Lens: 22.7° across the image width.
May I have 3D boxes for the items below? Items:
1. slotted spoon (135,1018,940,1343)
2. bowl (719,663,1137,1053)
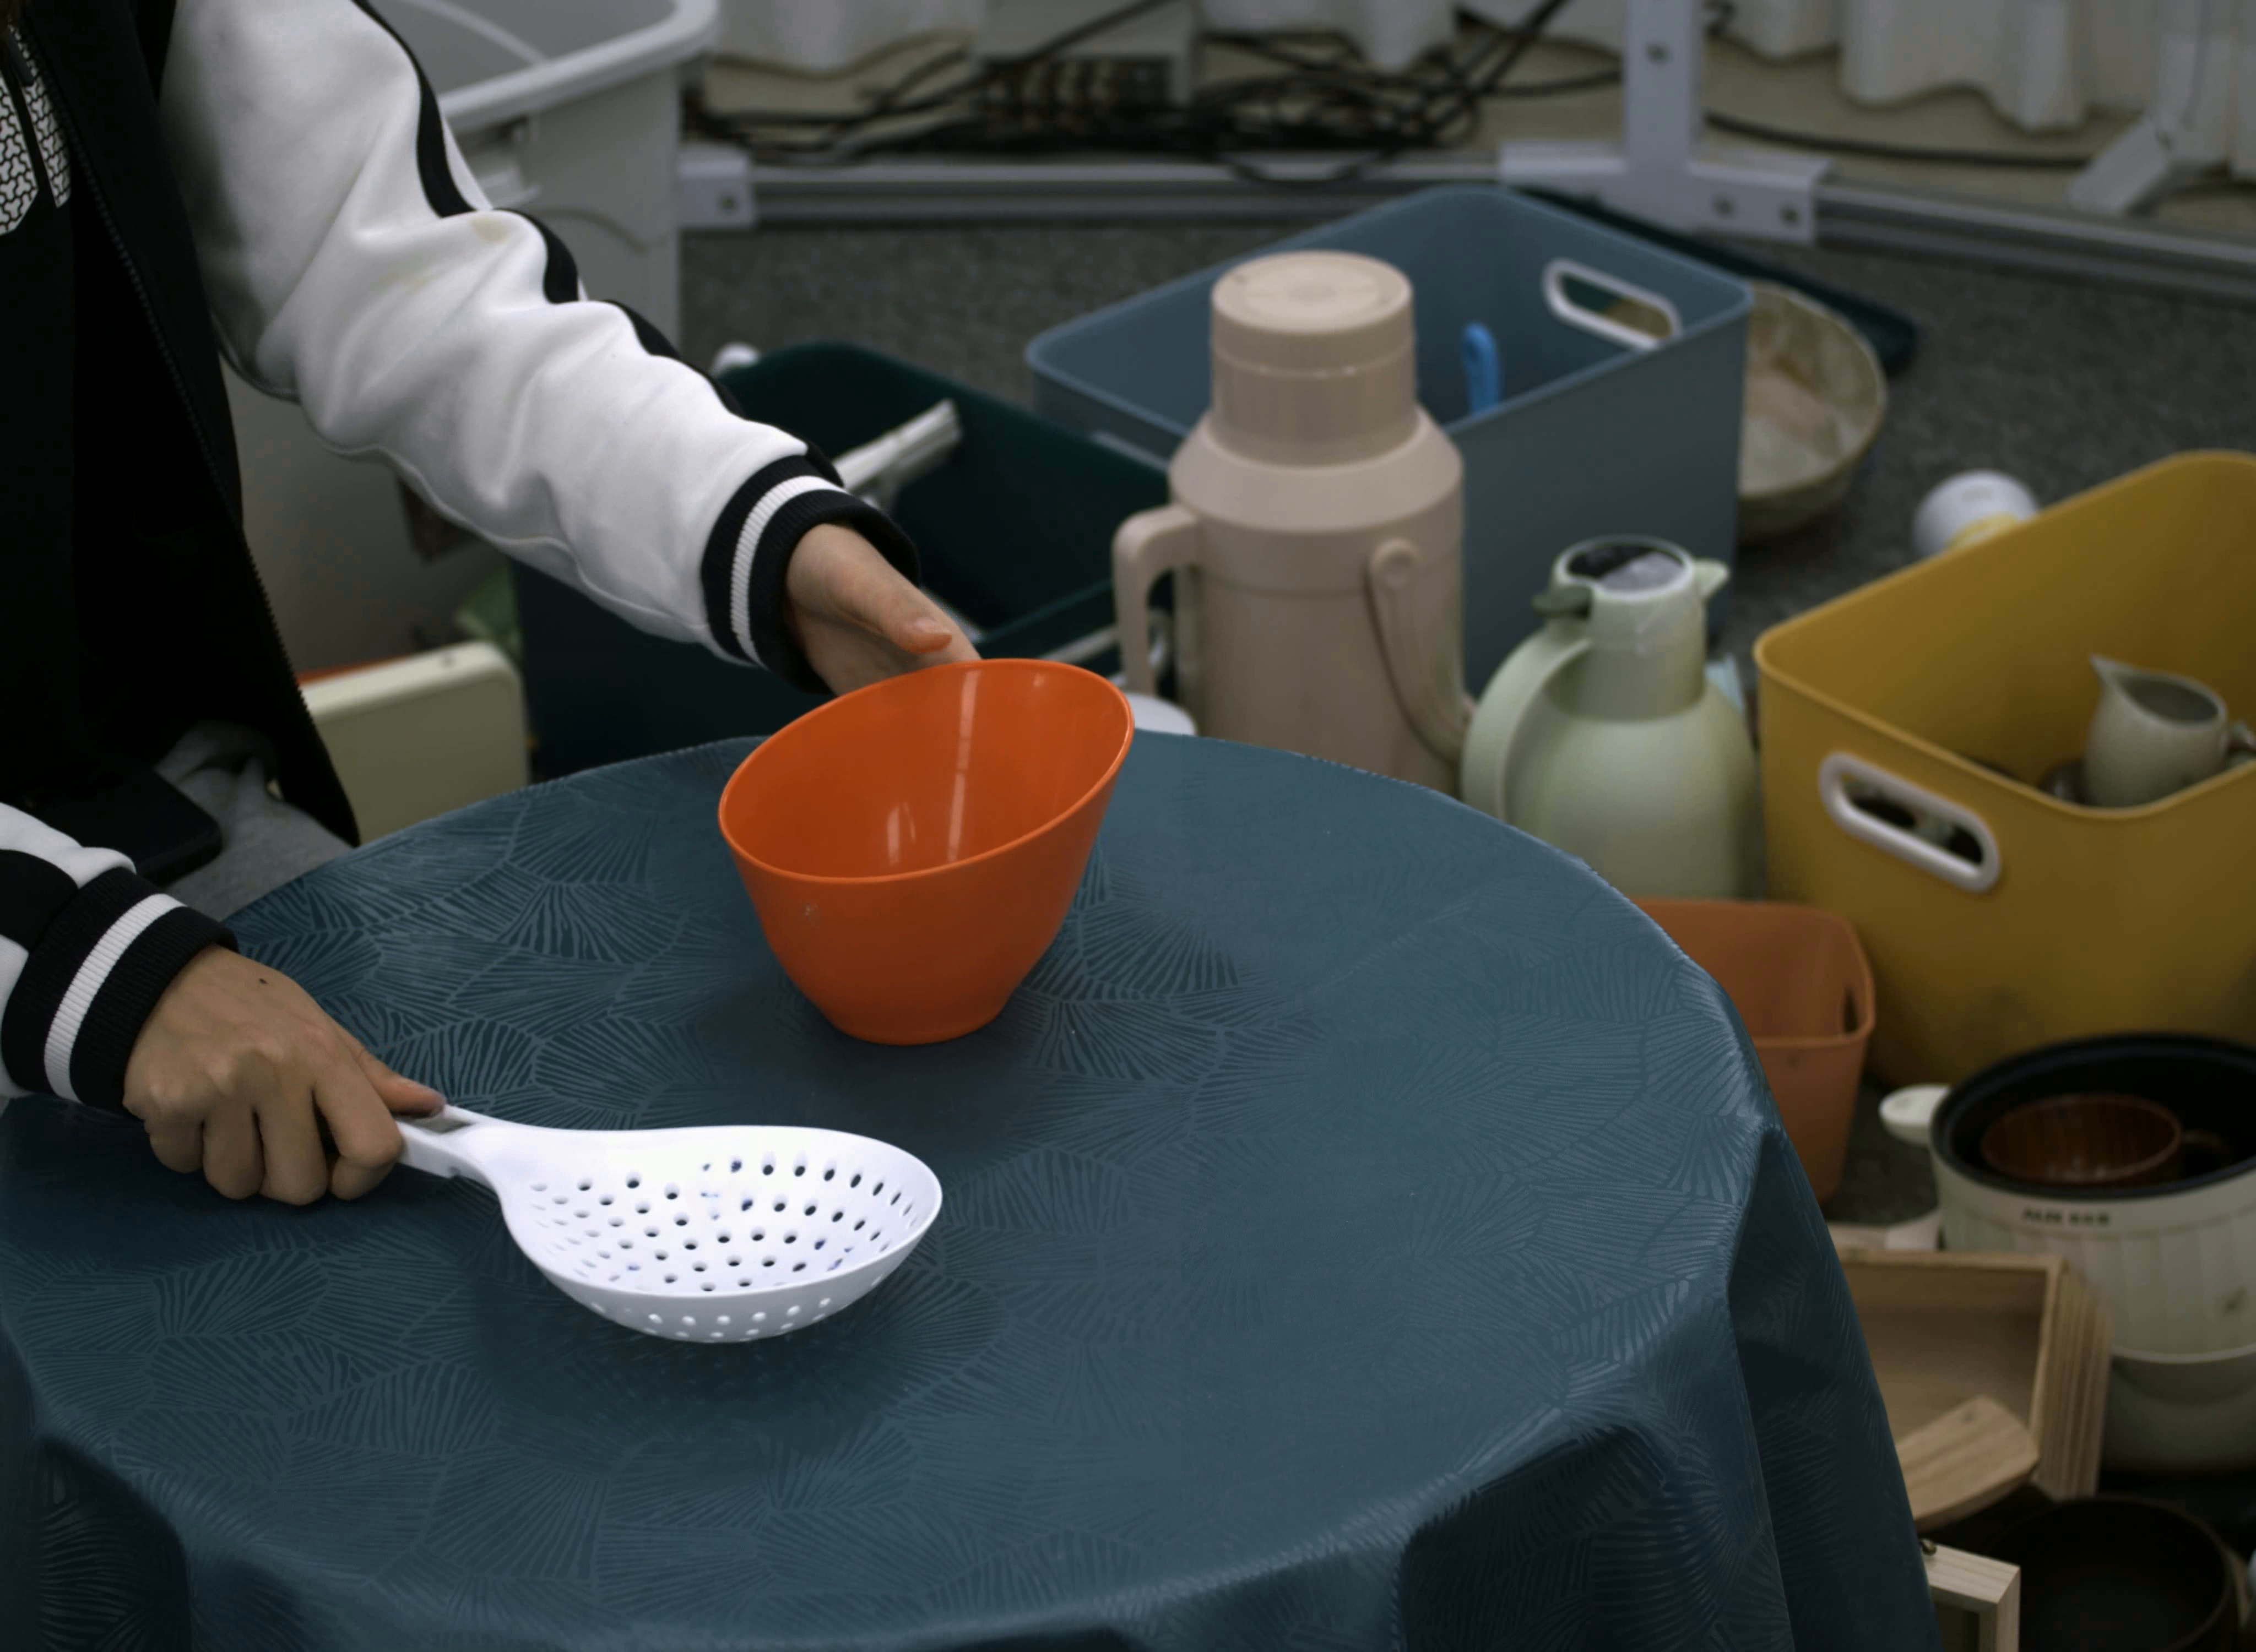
[{"bbox_3d":[-0.209,0.109,1.857,0.348,0.045,0.137,19,27,37],"label":"slotted spoon"},{"bbox_3d":[-0.067,0.017,1.963,0.147,0.103,0.150,-3,28,2],"label":"bowl"}]
